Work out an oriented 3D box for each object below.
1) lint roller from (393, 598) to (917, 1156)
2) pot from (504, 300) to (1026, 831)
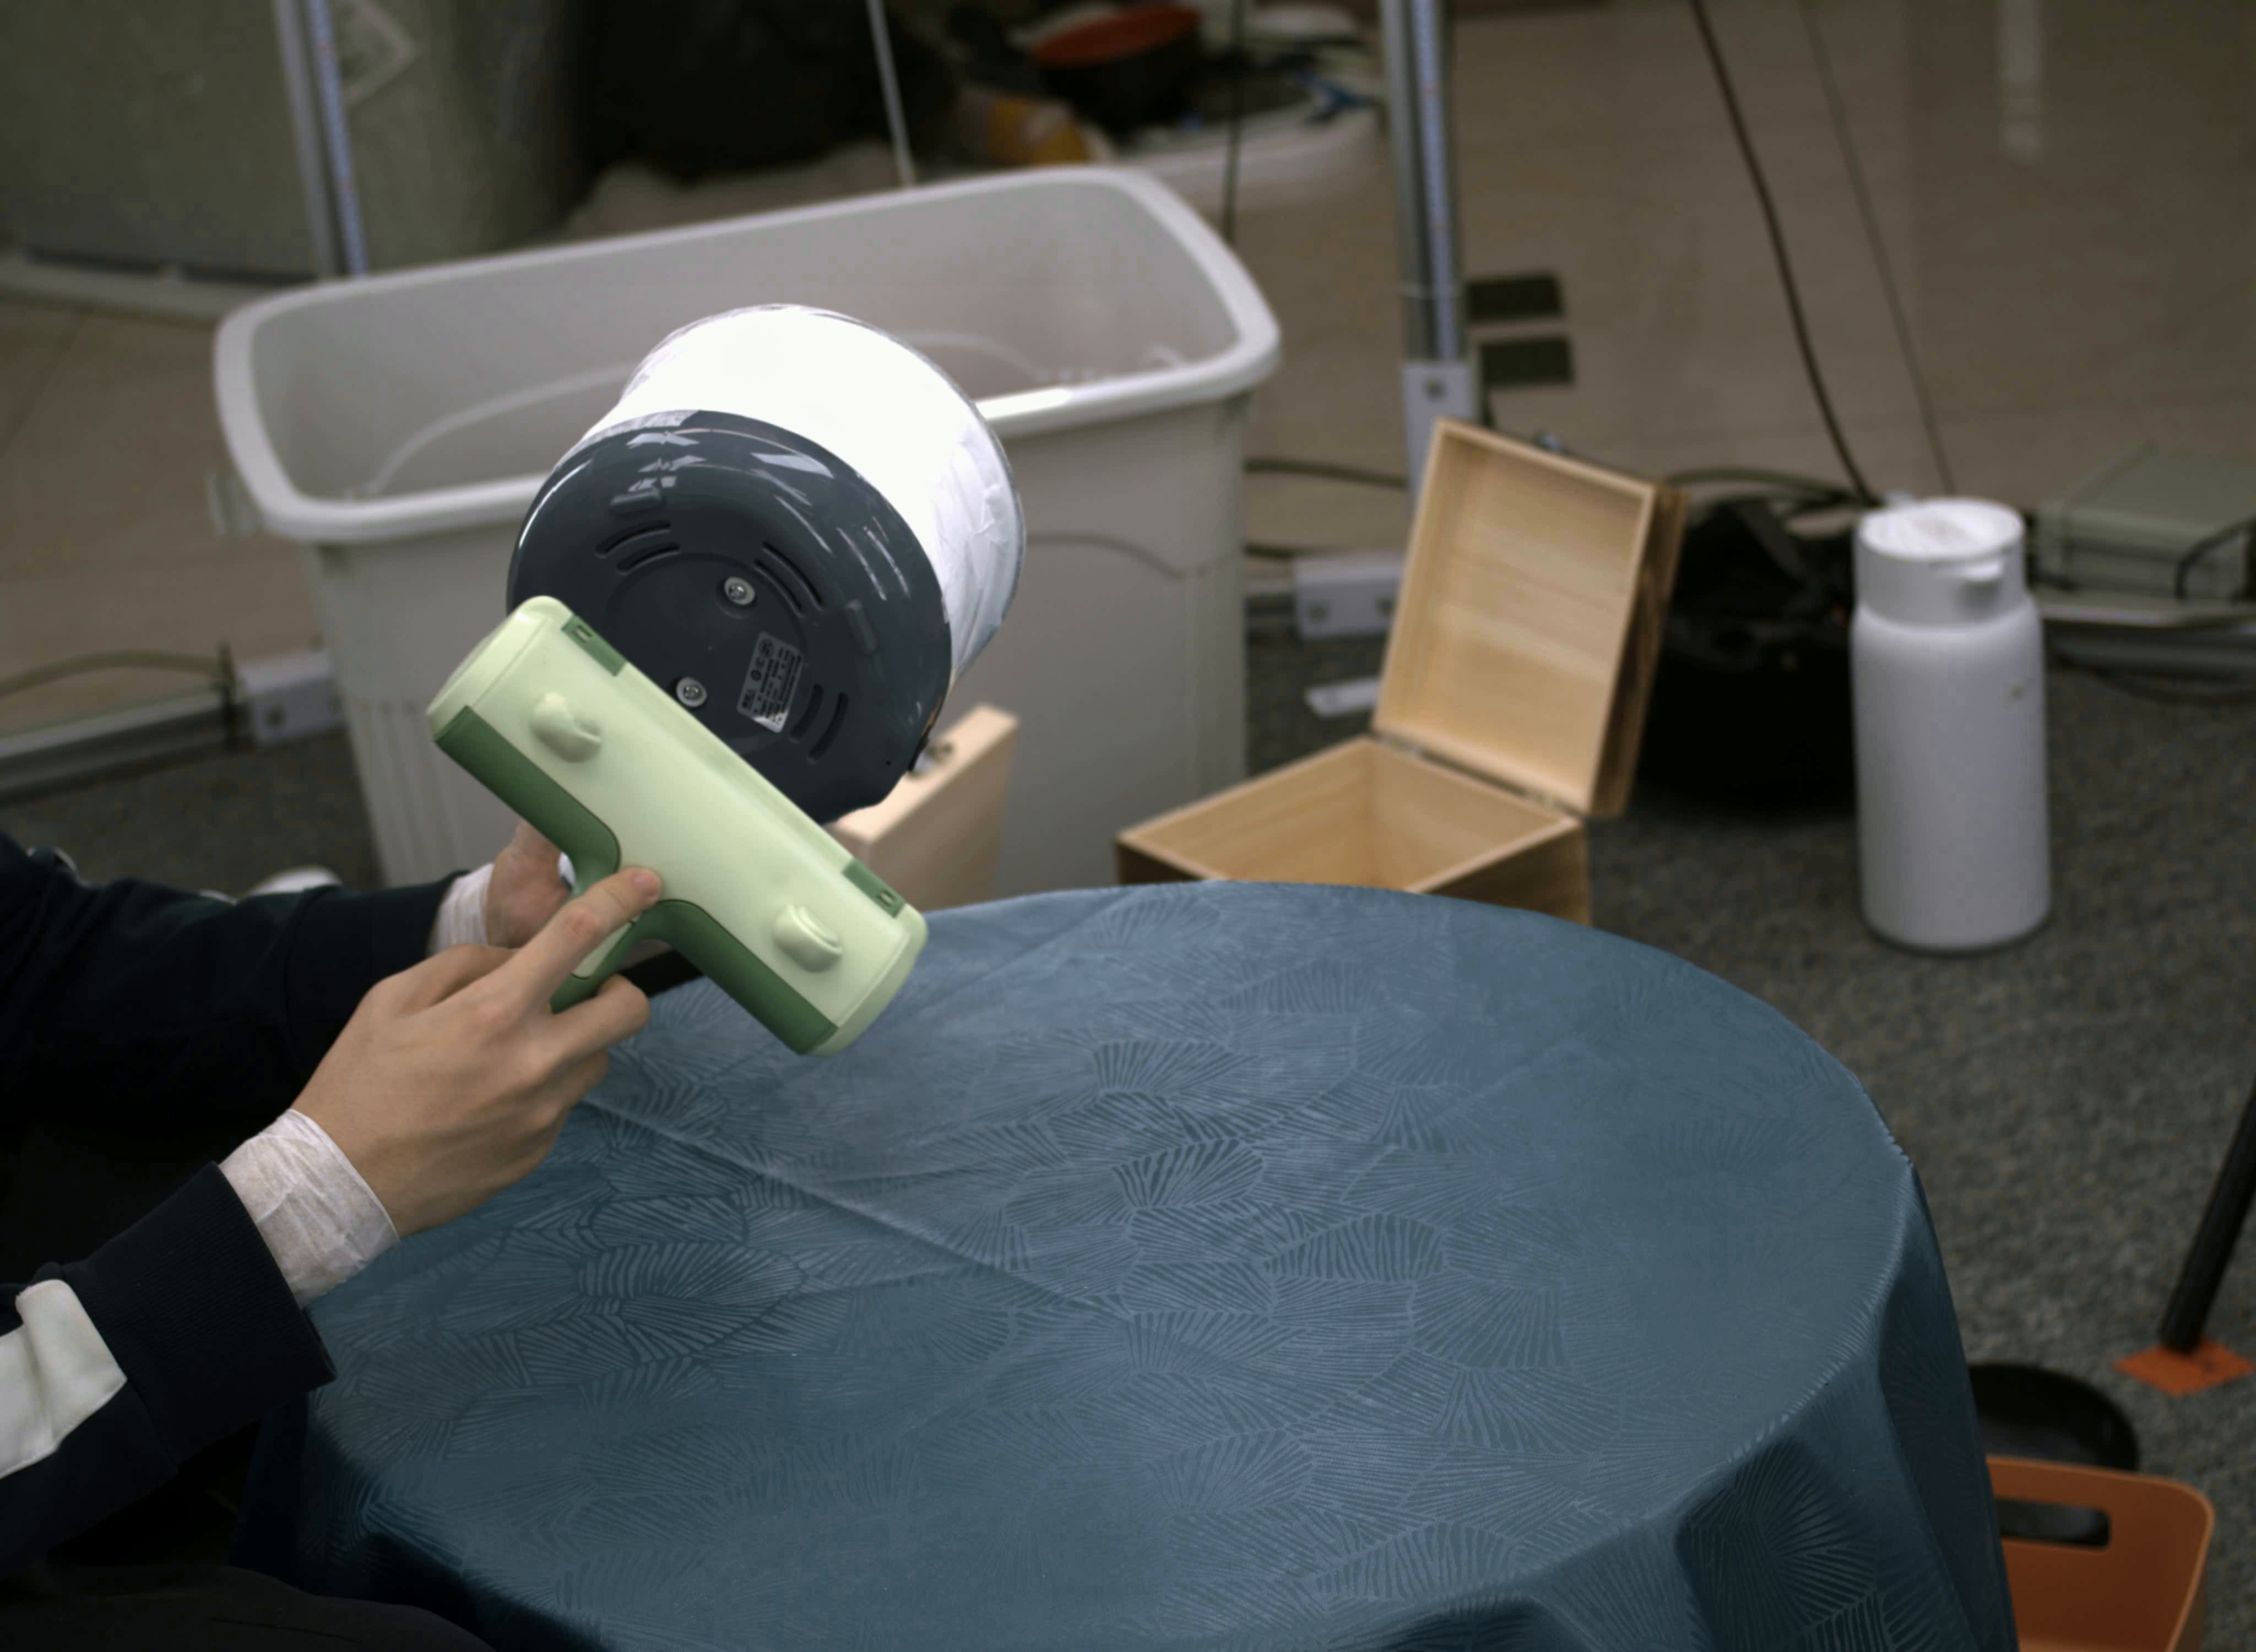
[{"bbox_3d":[-0.196,0.042,2.032,0.181,0.199,0.082,-53,12,-24],"label":"lint roller"},{"bbox_3d":[-0.154,-0.076,2.196,0.178,0.237,0.134,30,36,0],"label":"pot"}]
